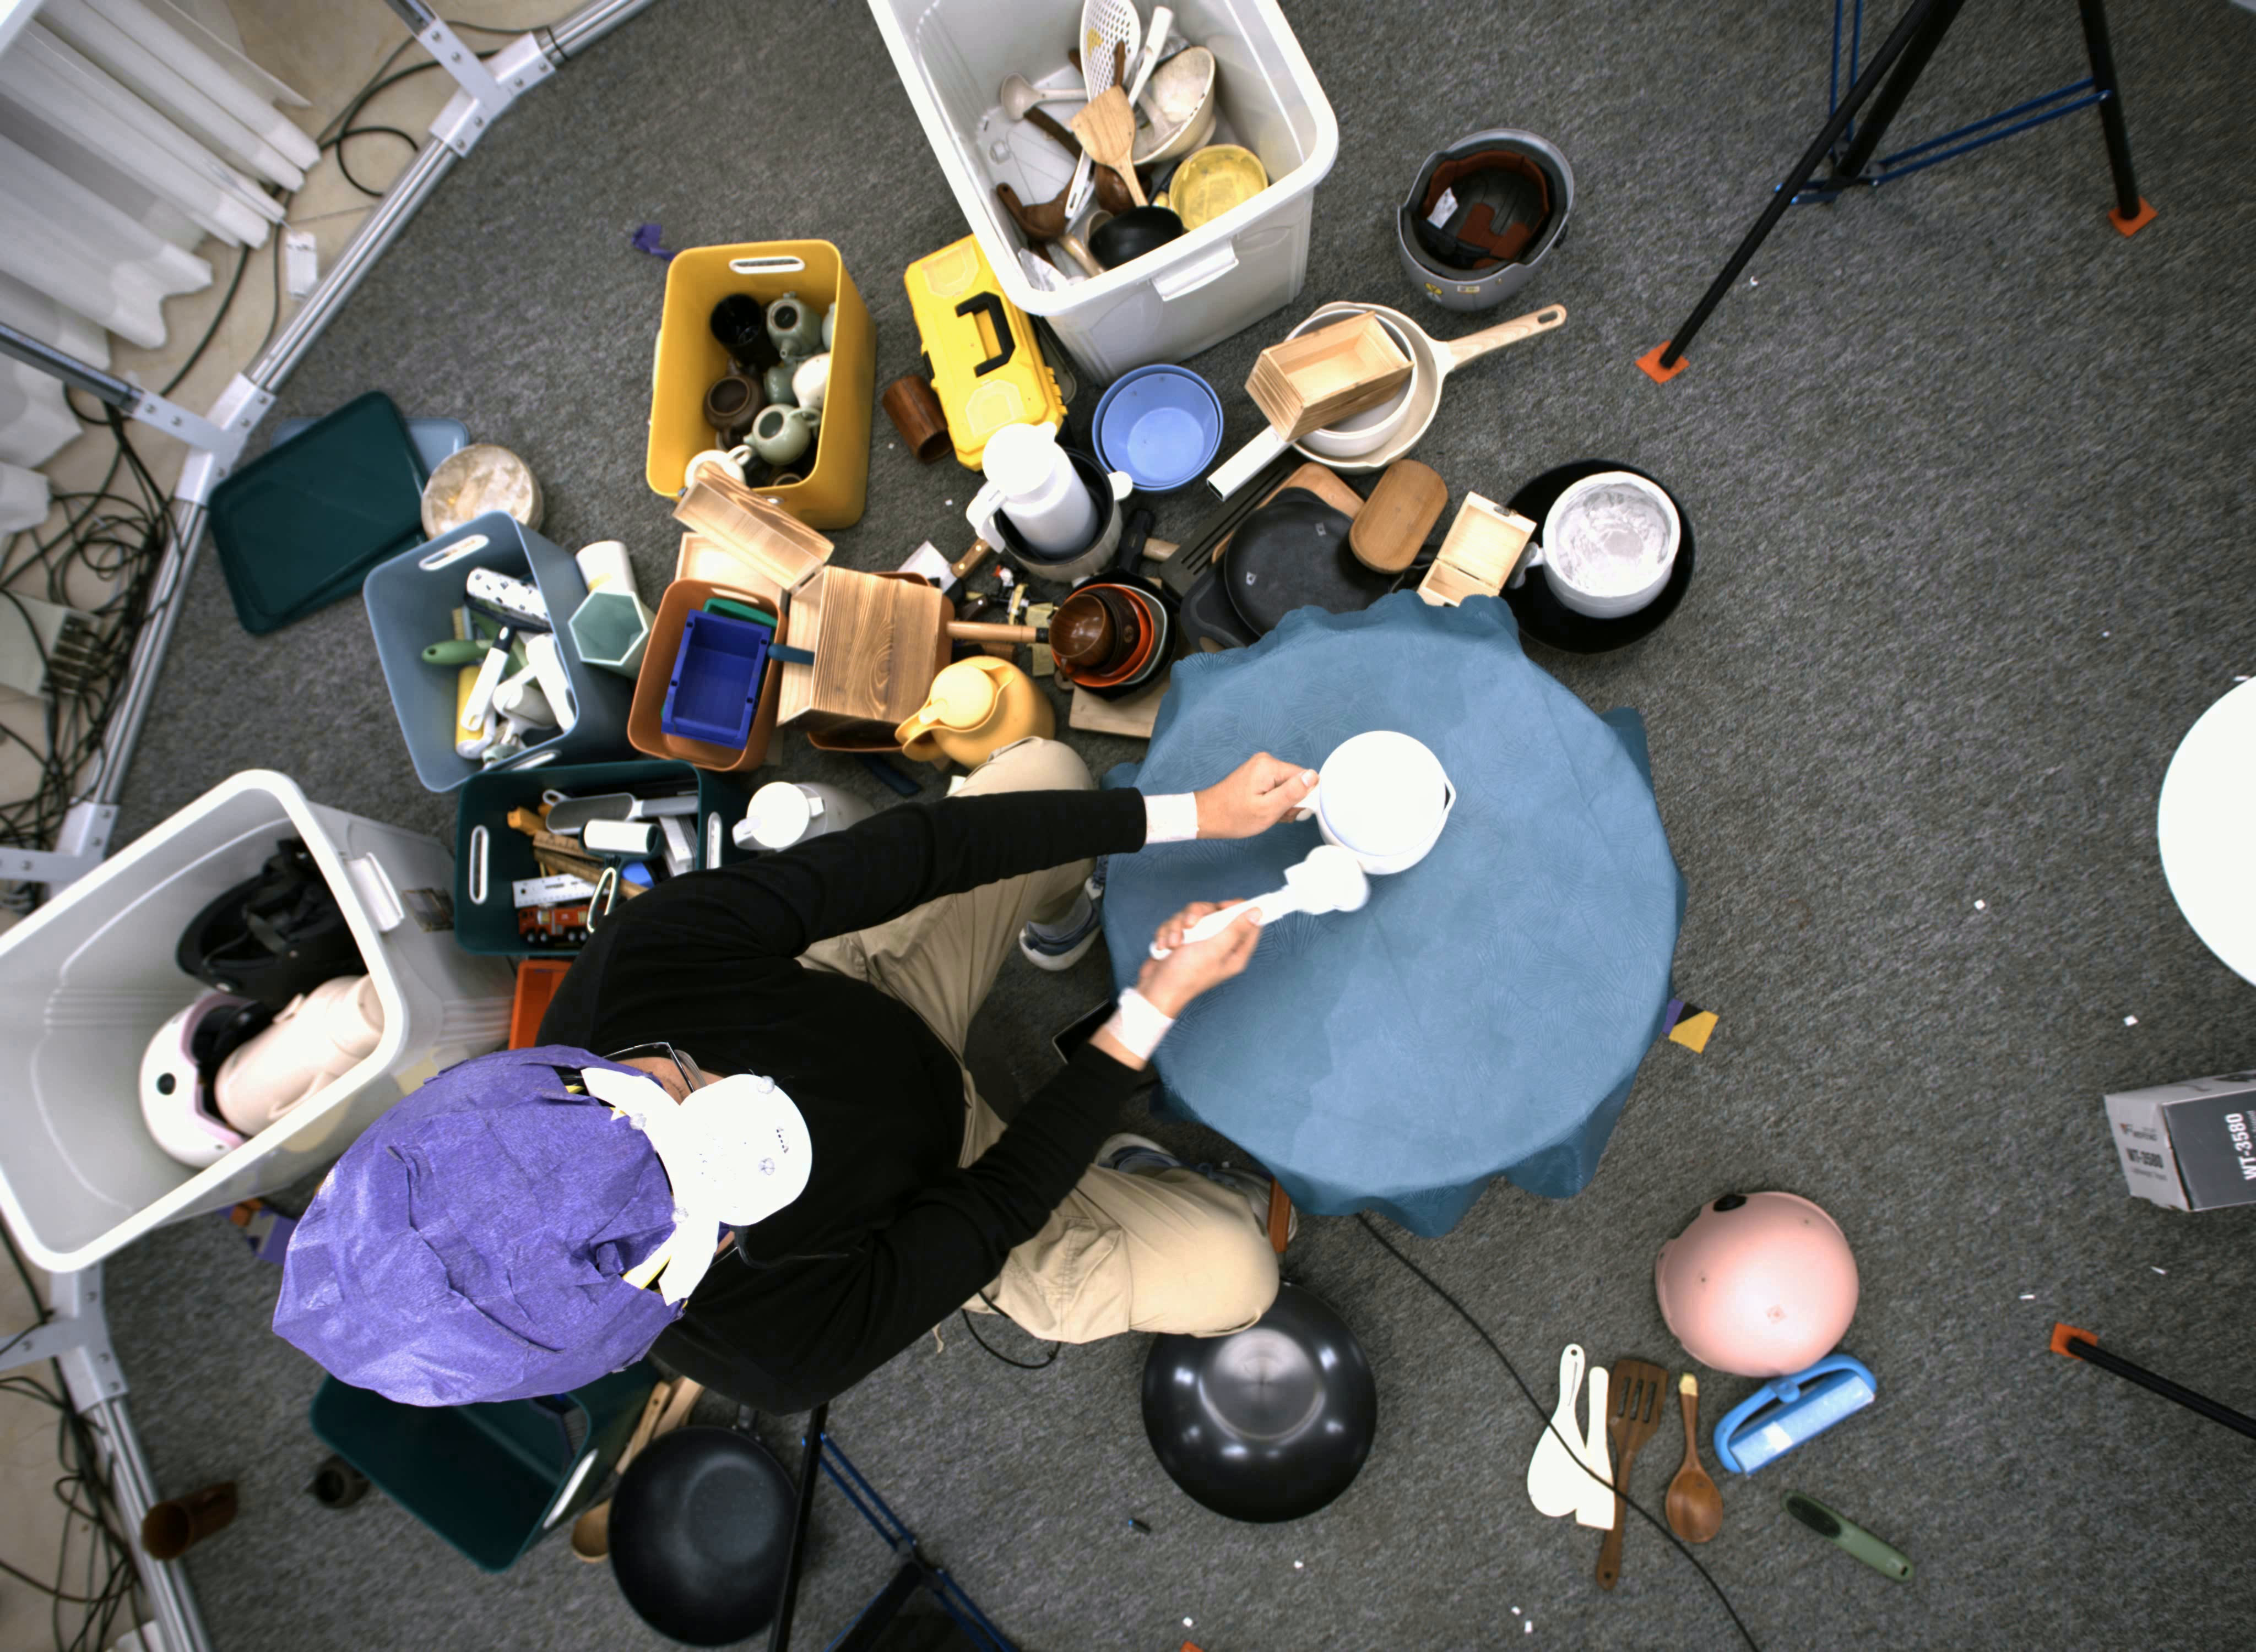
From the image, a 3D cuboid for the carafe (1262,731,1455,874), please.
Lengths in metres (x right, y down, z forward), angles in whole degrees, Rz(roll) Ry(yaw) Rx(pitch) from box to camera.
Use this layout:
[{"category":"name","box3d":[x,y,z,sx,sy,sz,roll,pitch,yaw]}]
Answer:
[{"category":"carafe","box3d":[0.229,-0.023,1.386,0.192,0.183,0.131,0,84,12]}]

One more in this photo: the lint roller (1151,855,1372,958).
[{"category":"lint roller","box3d":[0.130,0.090,1.365,0.227,0.203,0.048,-23,80,11]}]
